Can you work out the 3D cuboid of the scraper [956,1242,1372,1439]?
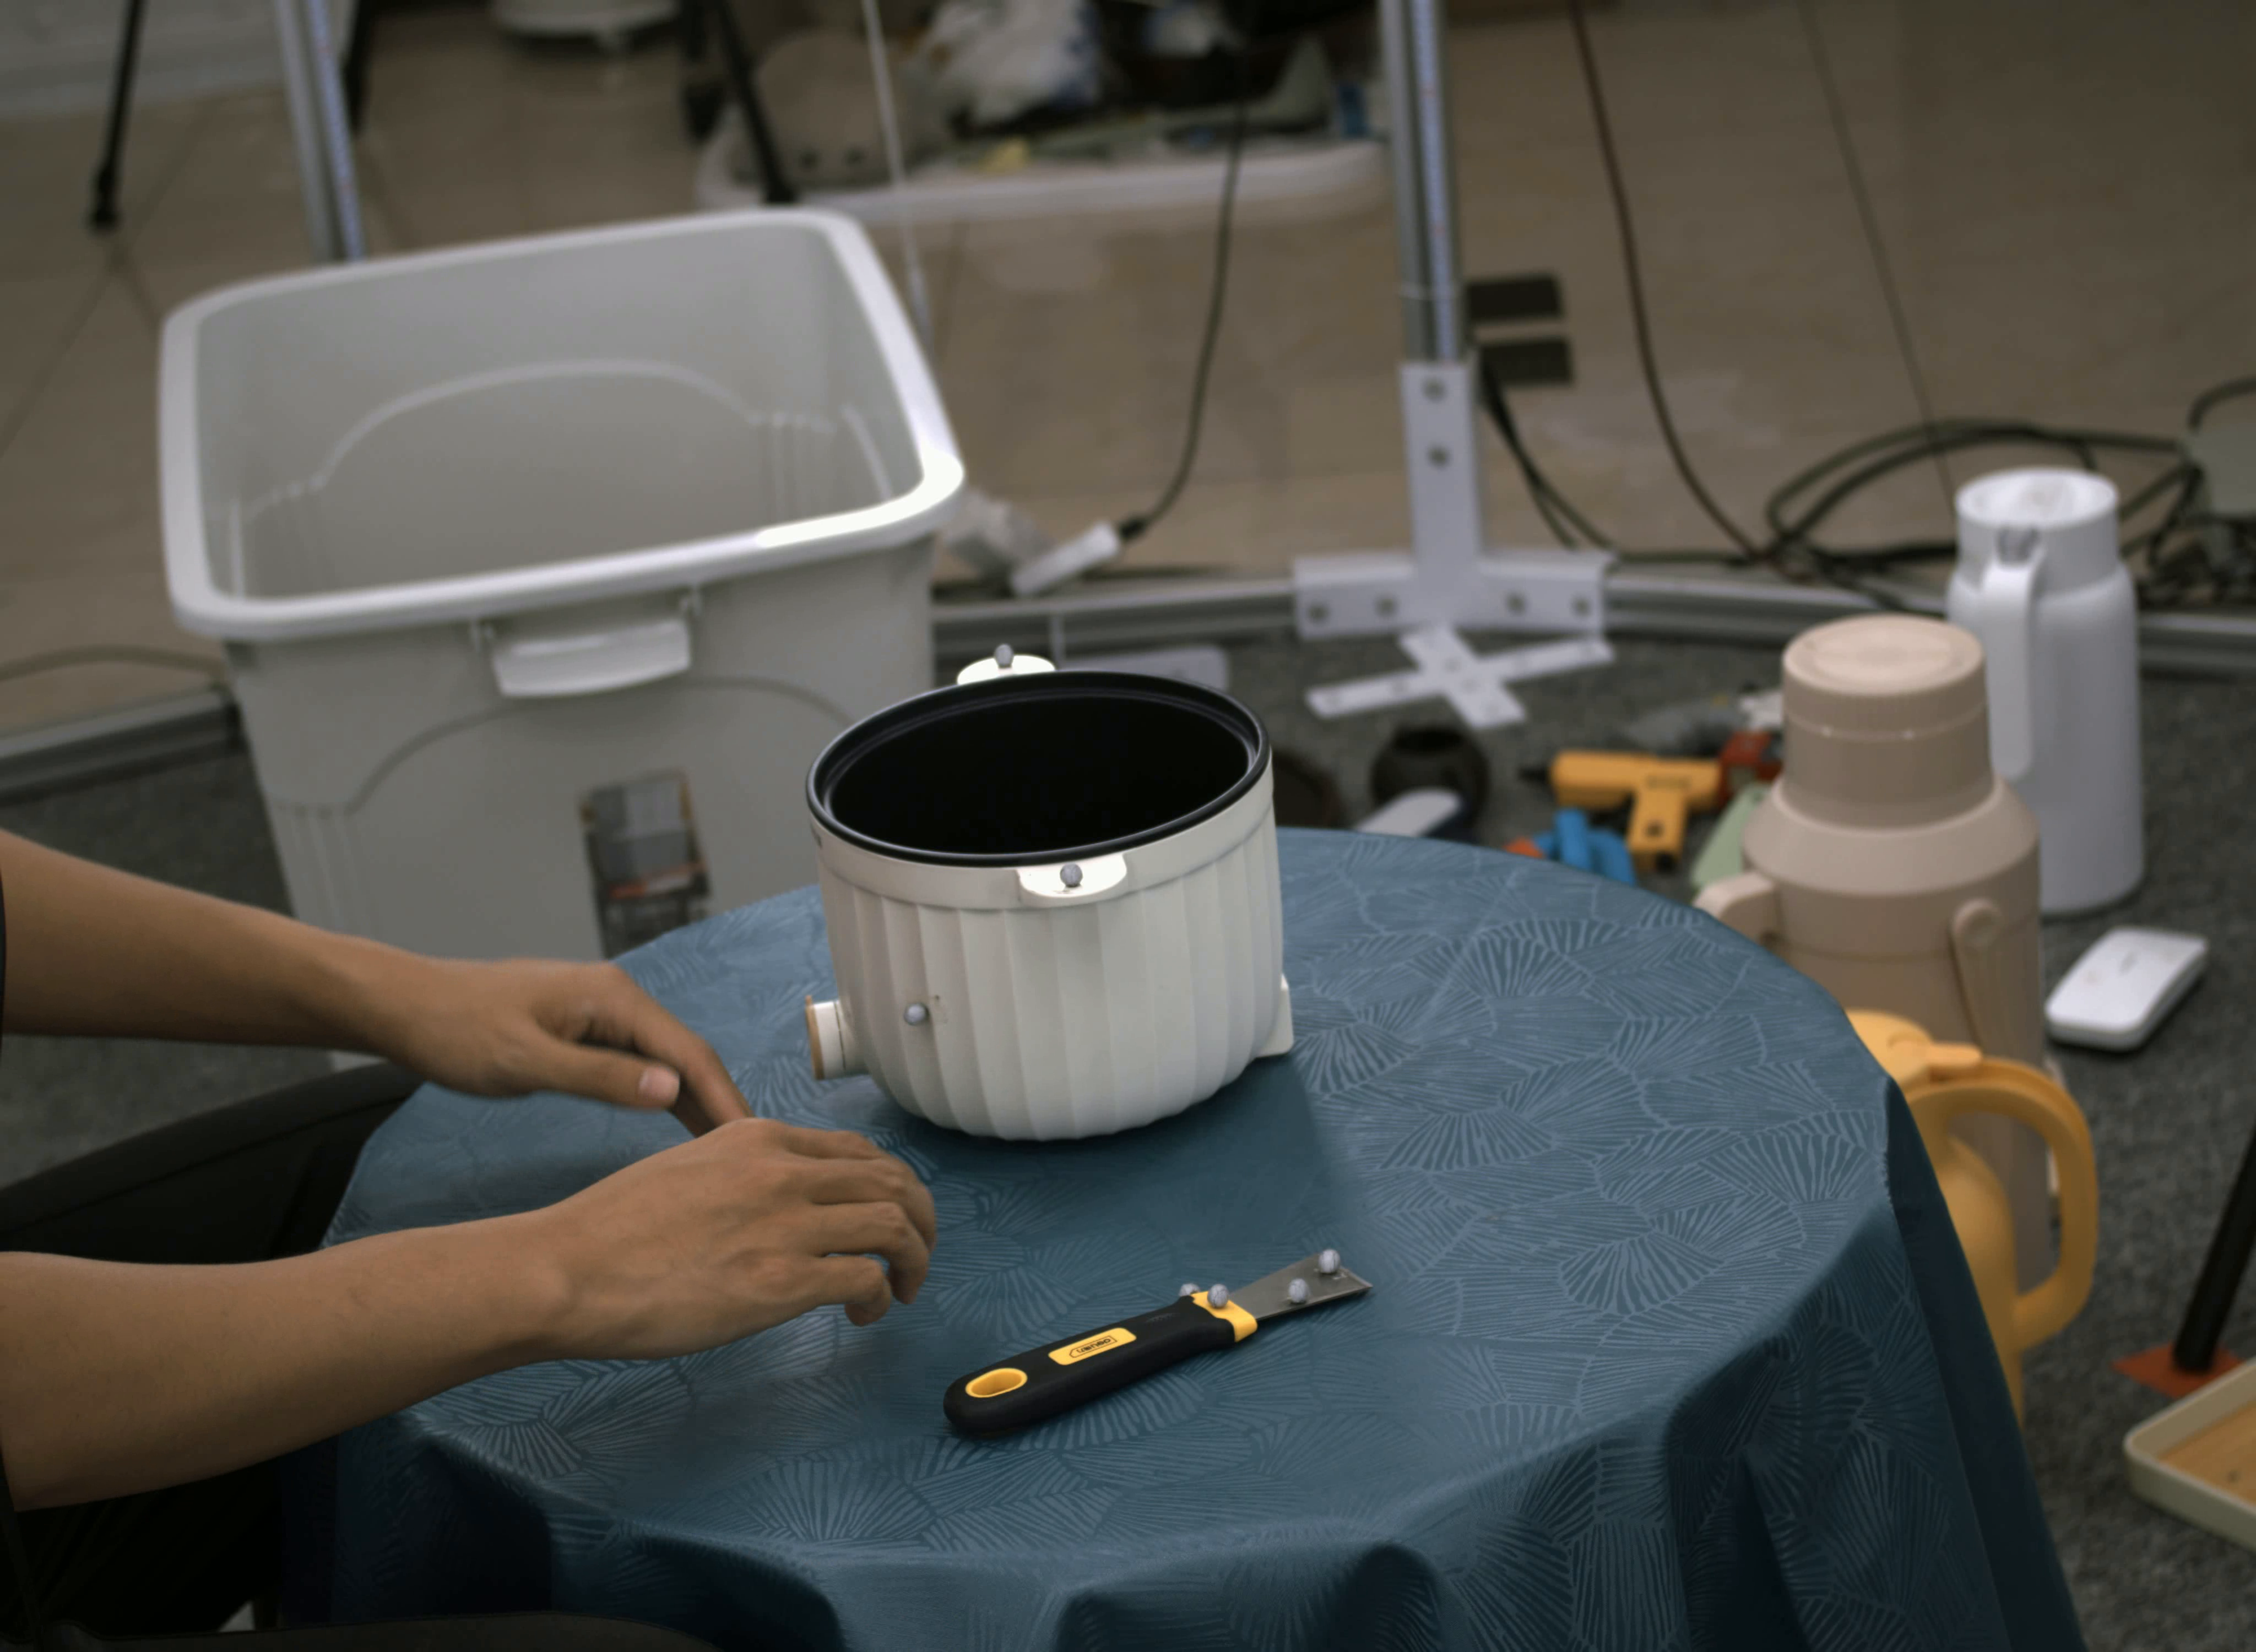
[{"bbox_3d":[0.012,0.184,2.033,0.170,0.015,0.038,-19,30,-30],"label":"scraper"}]

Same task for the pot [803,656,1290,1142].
[{"bbox_3d":[-0.034,0.036,2.216,0.190,0.145,0.237,-6,23,-8],"label":"pot"}]
